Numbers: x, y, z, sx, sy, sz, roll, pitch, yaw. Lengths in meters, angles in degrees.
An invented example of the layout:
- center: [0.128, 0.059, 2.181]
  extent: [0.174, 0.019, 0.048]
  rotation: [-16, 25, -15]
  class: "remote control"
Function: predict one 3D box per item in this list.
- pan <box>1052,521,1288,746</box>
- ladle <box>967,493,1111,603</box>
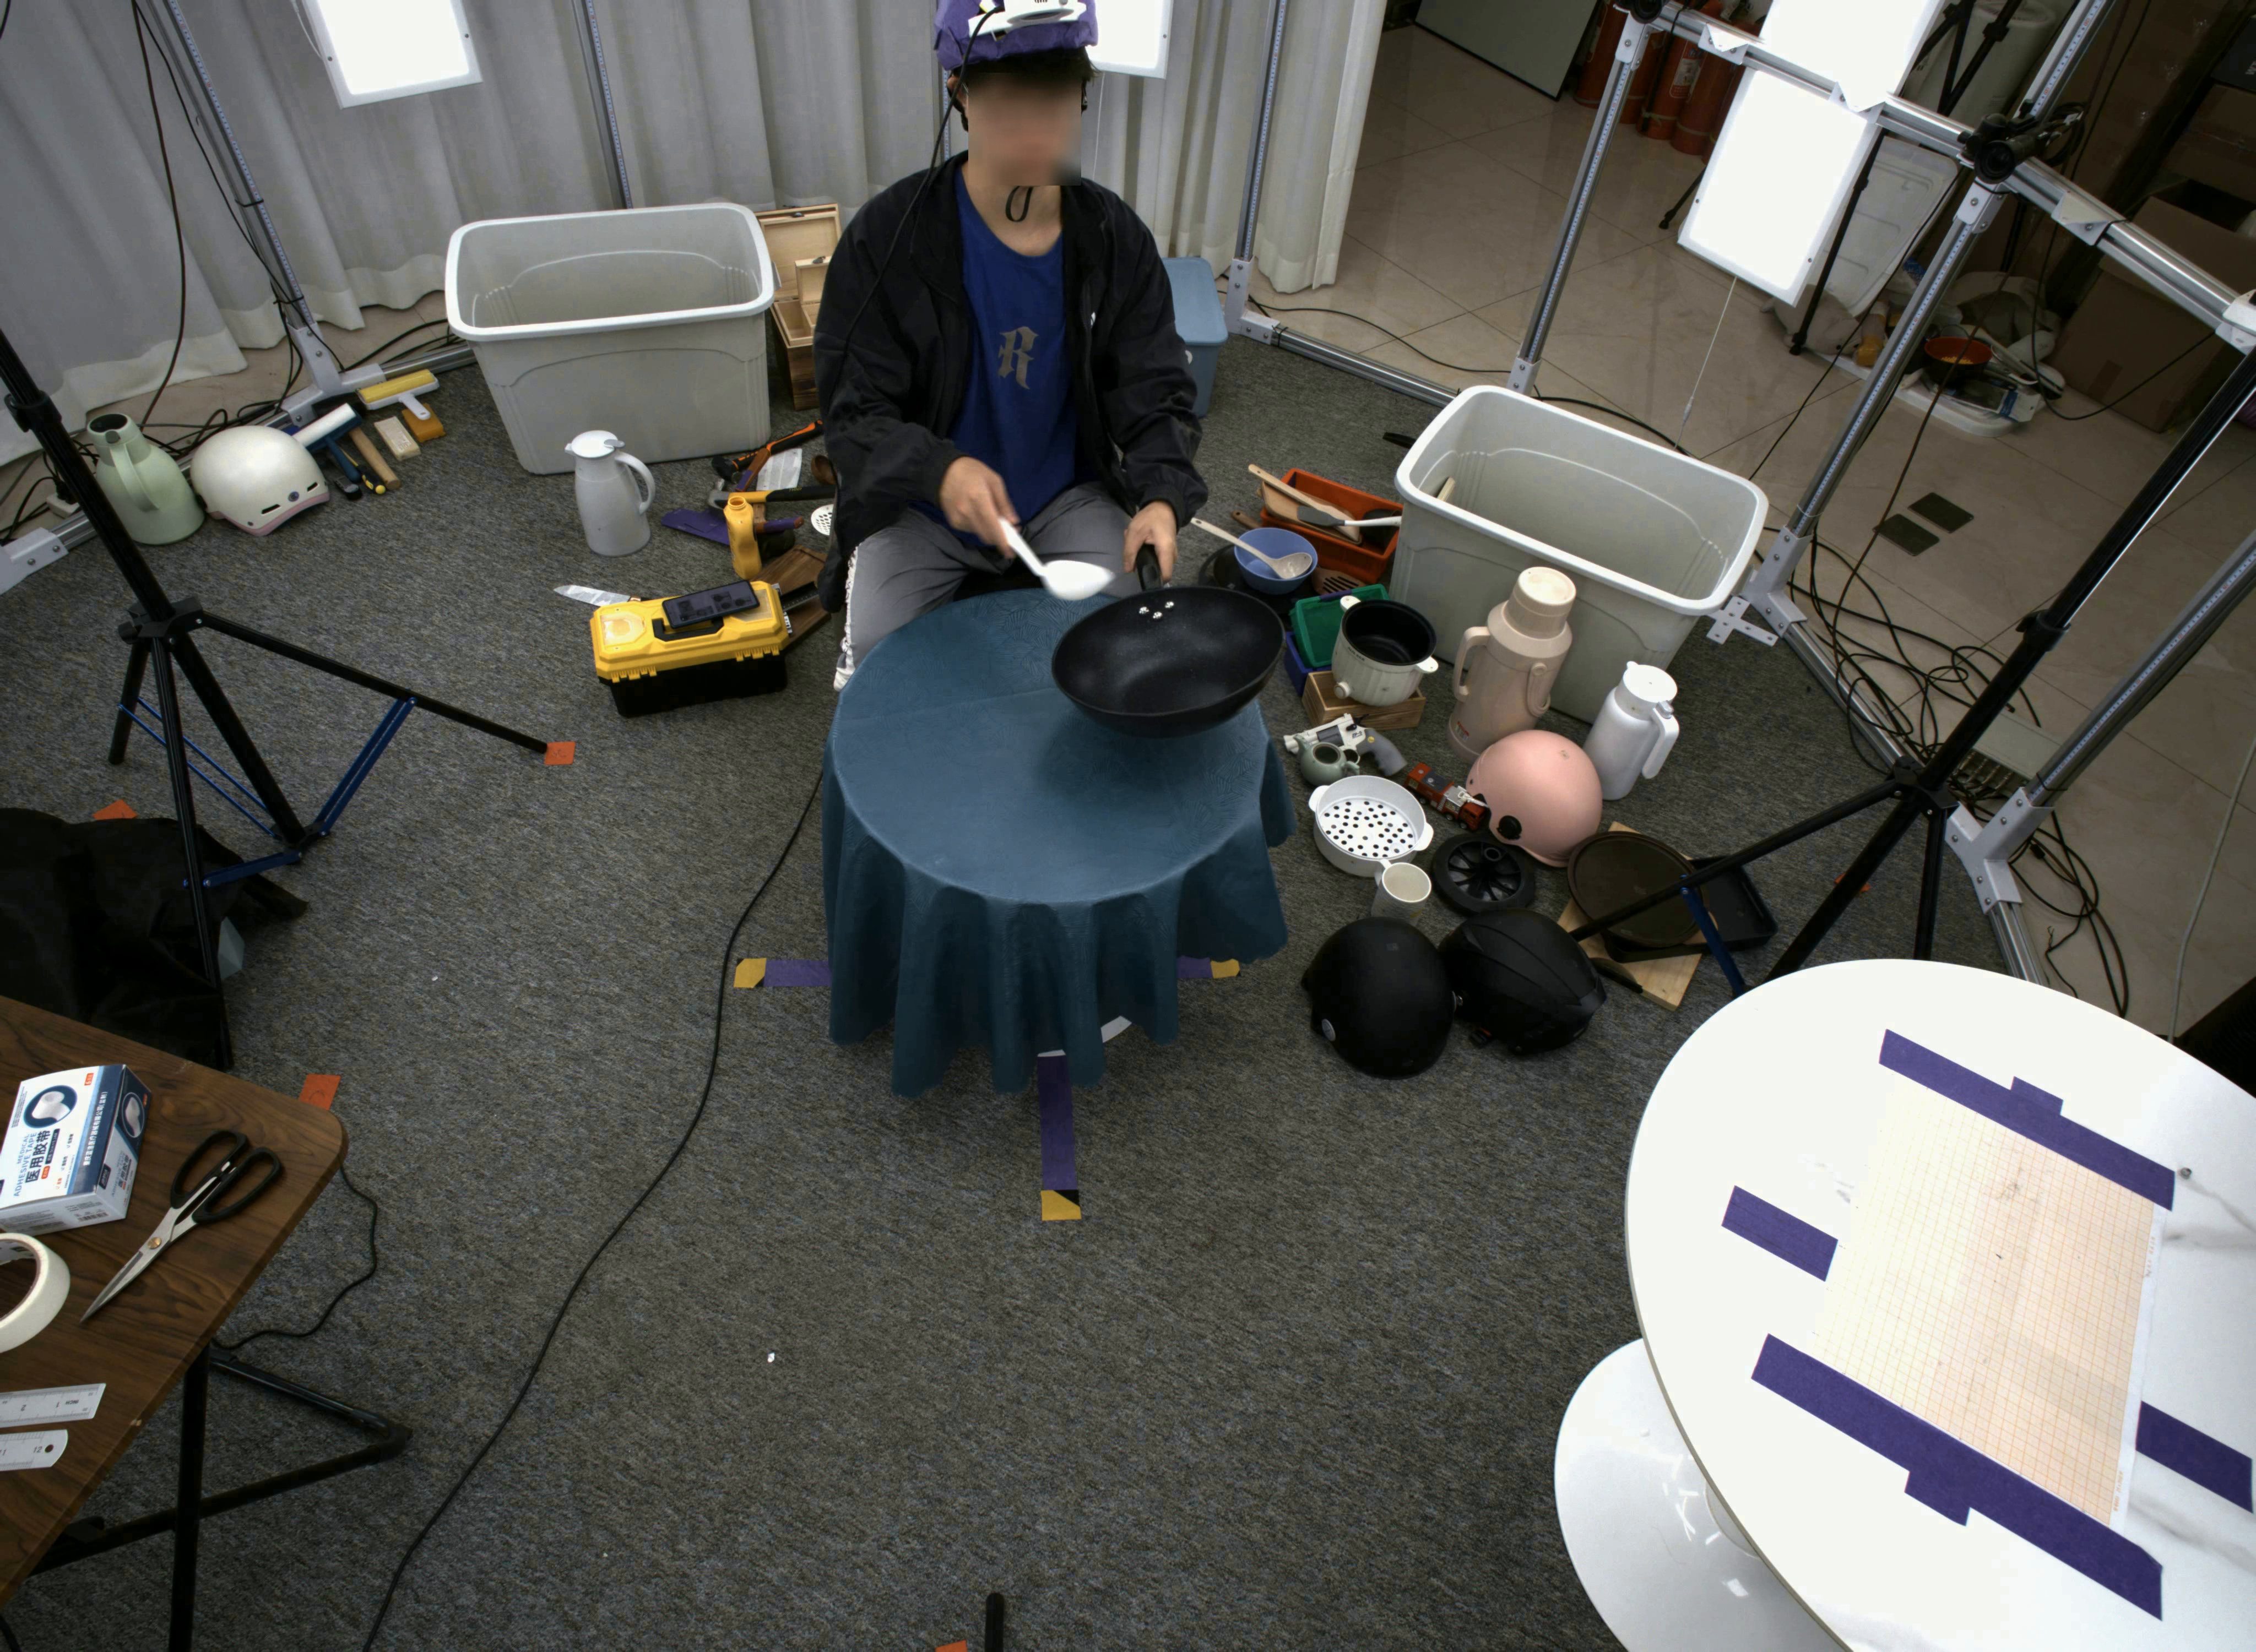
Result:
- center: [0.048, -0.260, 1.763]
  extent: [0.310, 0.109, 0.489]
  rotation: [-10, 40, 1]
  class: "pan"
- center: [-0.129, -0.380, 1.706]
  extent: [0.090, 0.068, 0.299]
  rotation: [-5, 39, -37]
  class: "ladle"
